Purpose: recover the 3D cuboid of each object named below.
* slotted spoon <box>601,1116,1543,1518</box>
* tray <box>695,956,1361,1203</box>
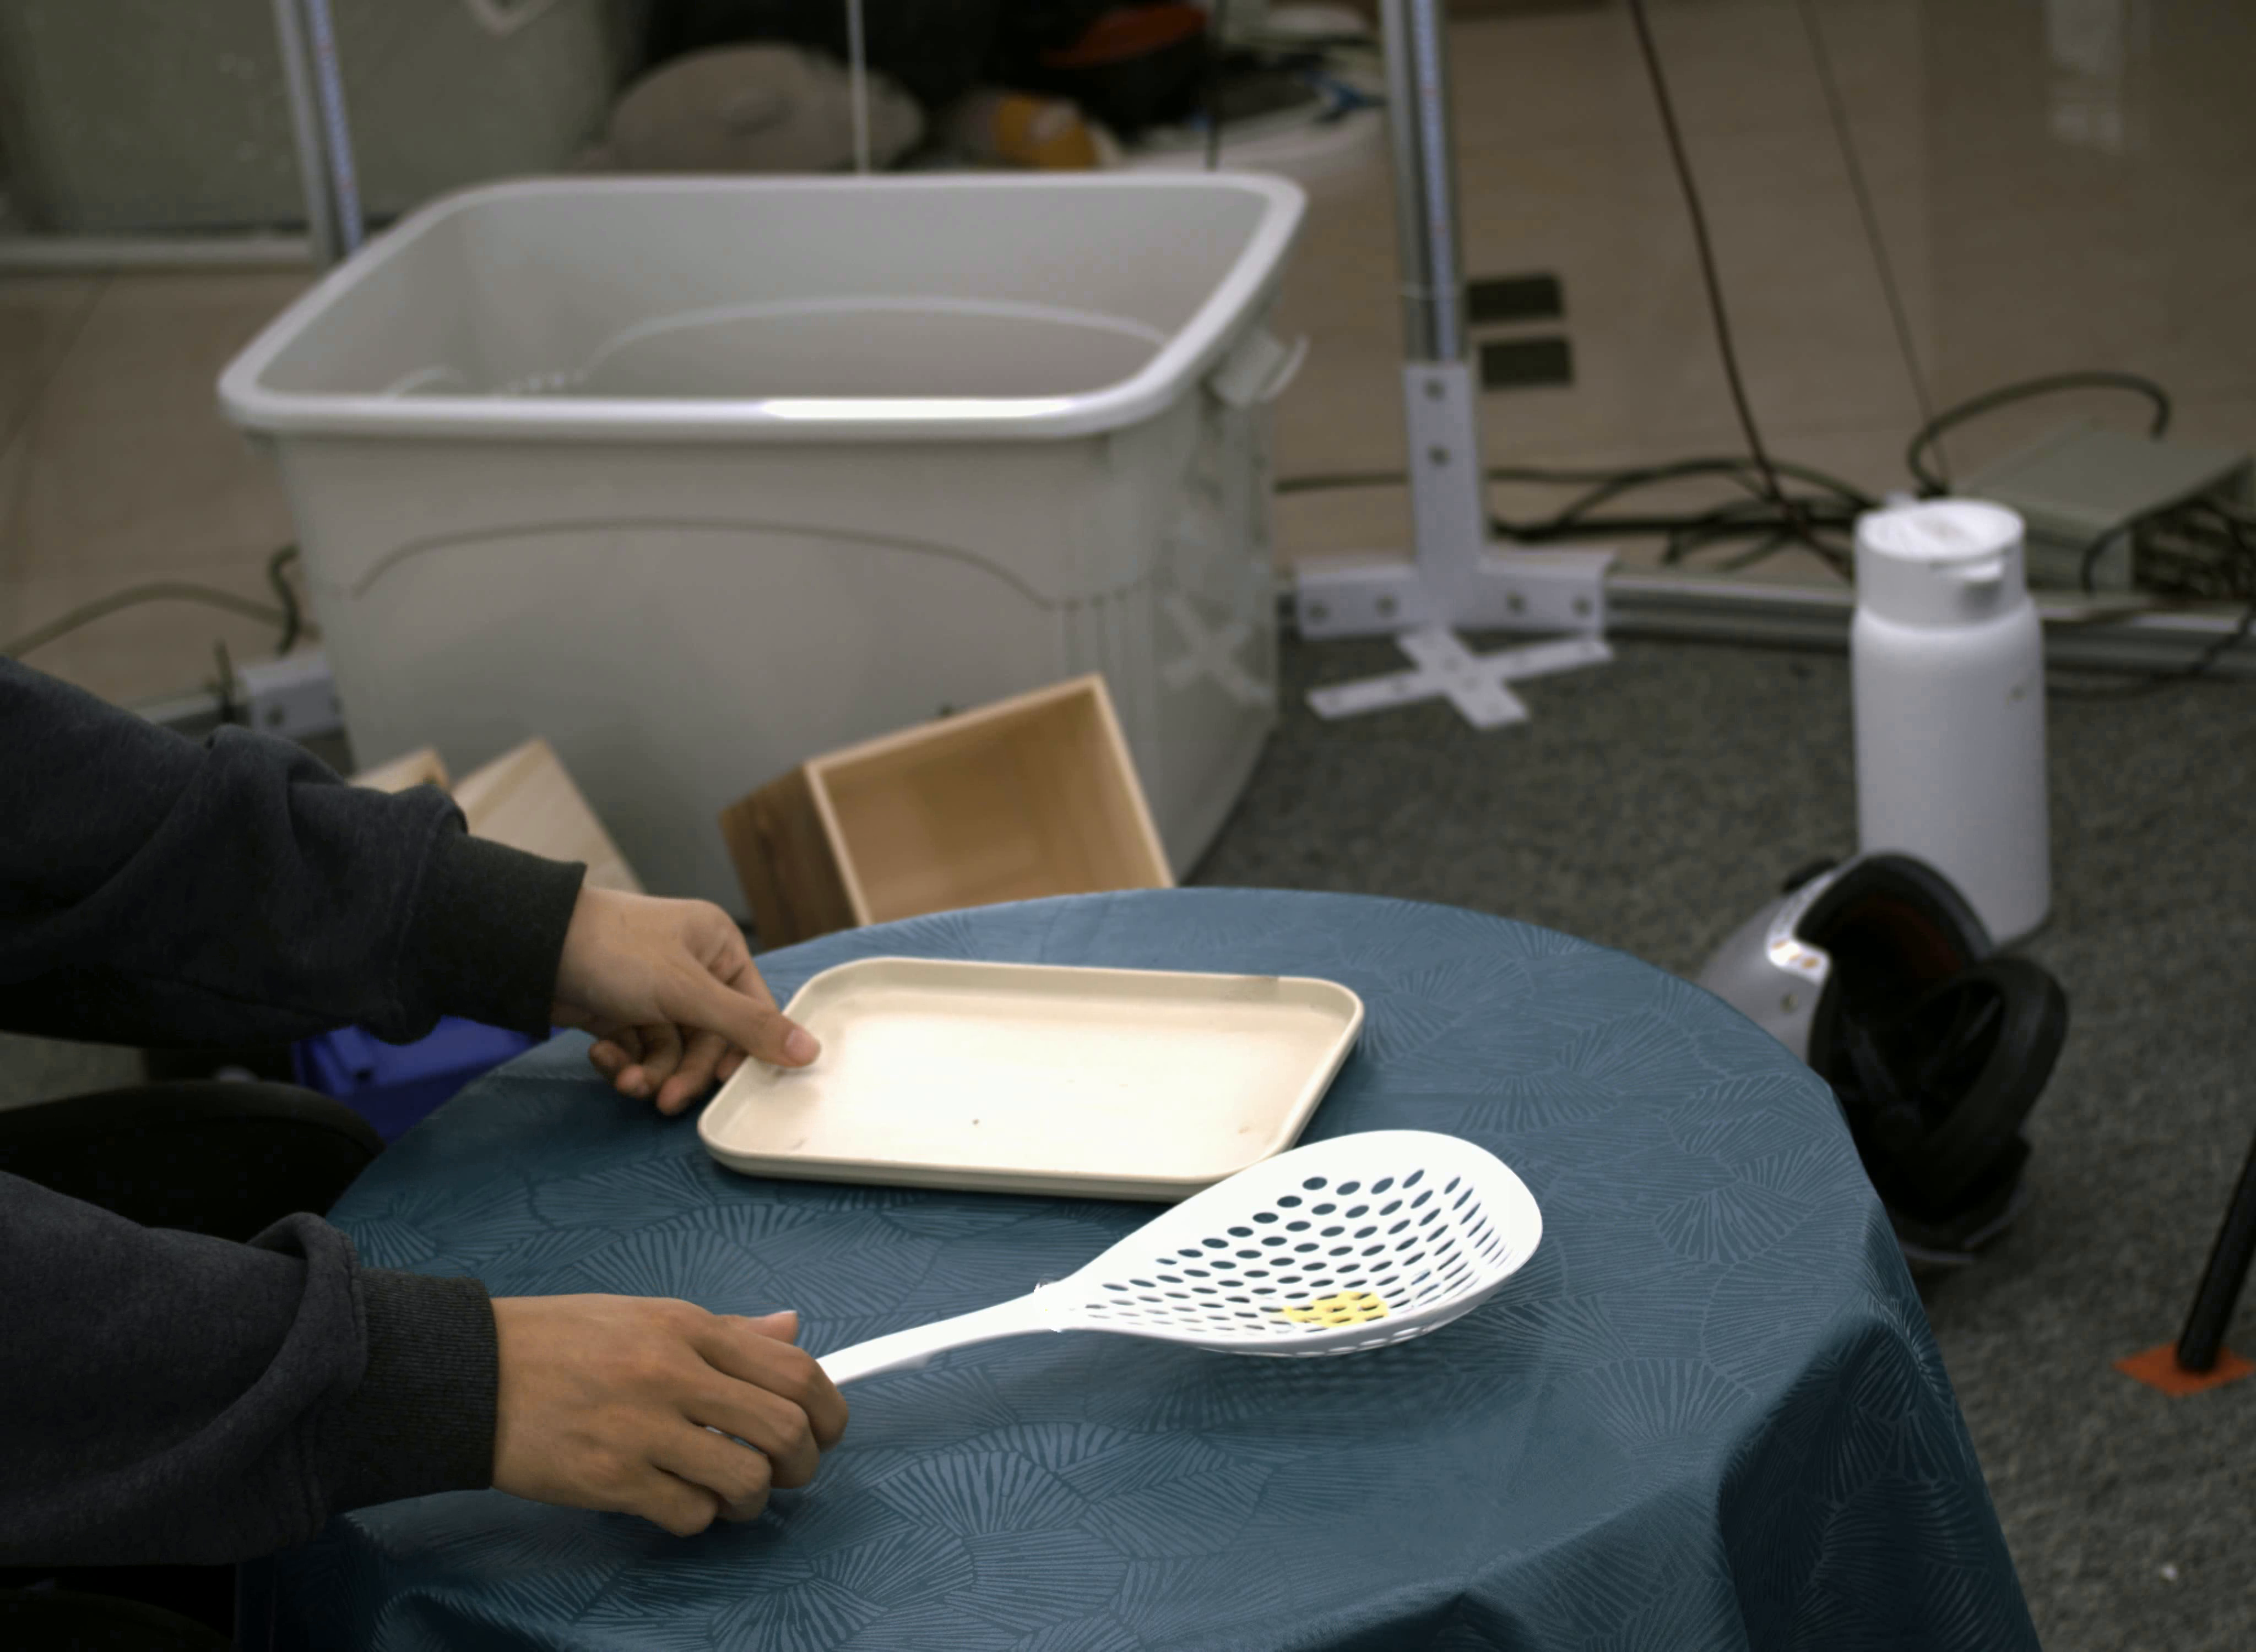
[{"bbox_3d":[-0.021,0.180,2.013,0.347,0.051,0.135,-12,27,-12],"label":"slotted spoon"},{"bbox_3d":[-0.038,0.099,2.220,0.239,0.018,0.169,2,27,19],"label":"tray"}]
